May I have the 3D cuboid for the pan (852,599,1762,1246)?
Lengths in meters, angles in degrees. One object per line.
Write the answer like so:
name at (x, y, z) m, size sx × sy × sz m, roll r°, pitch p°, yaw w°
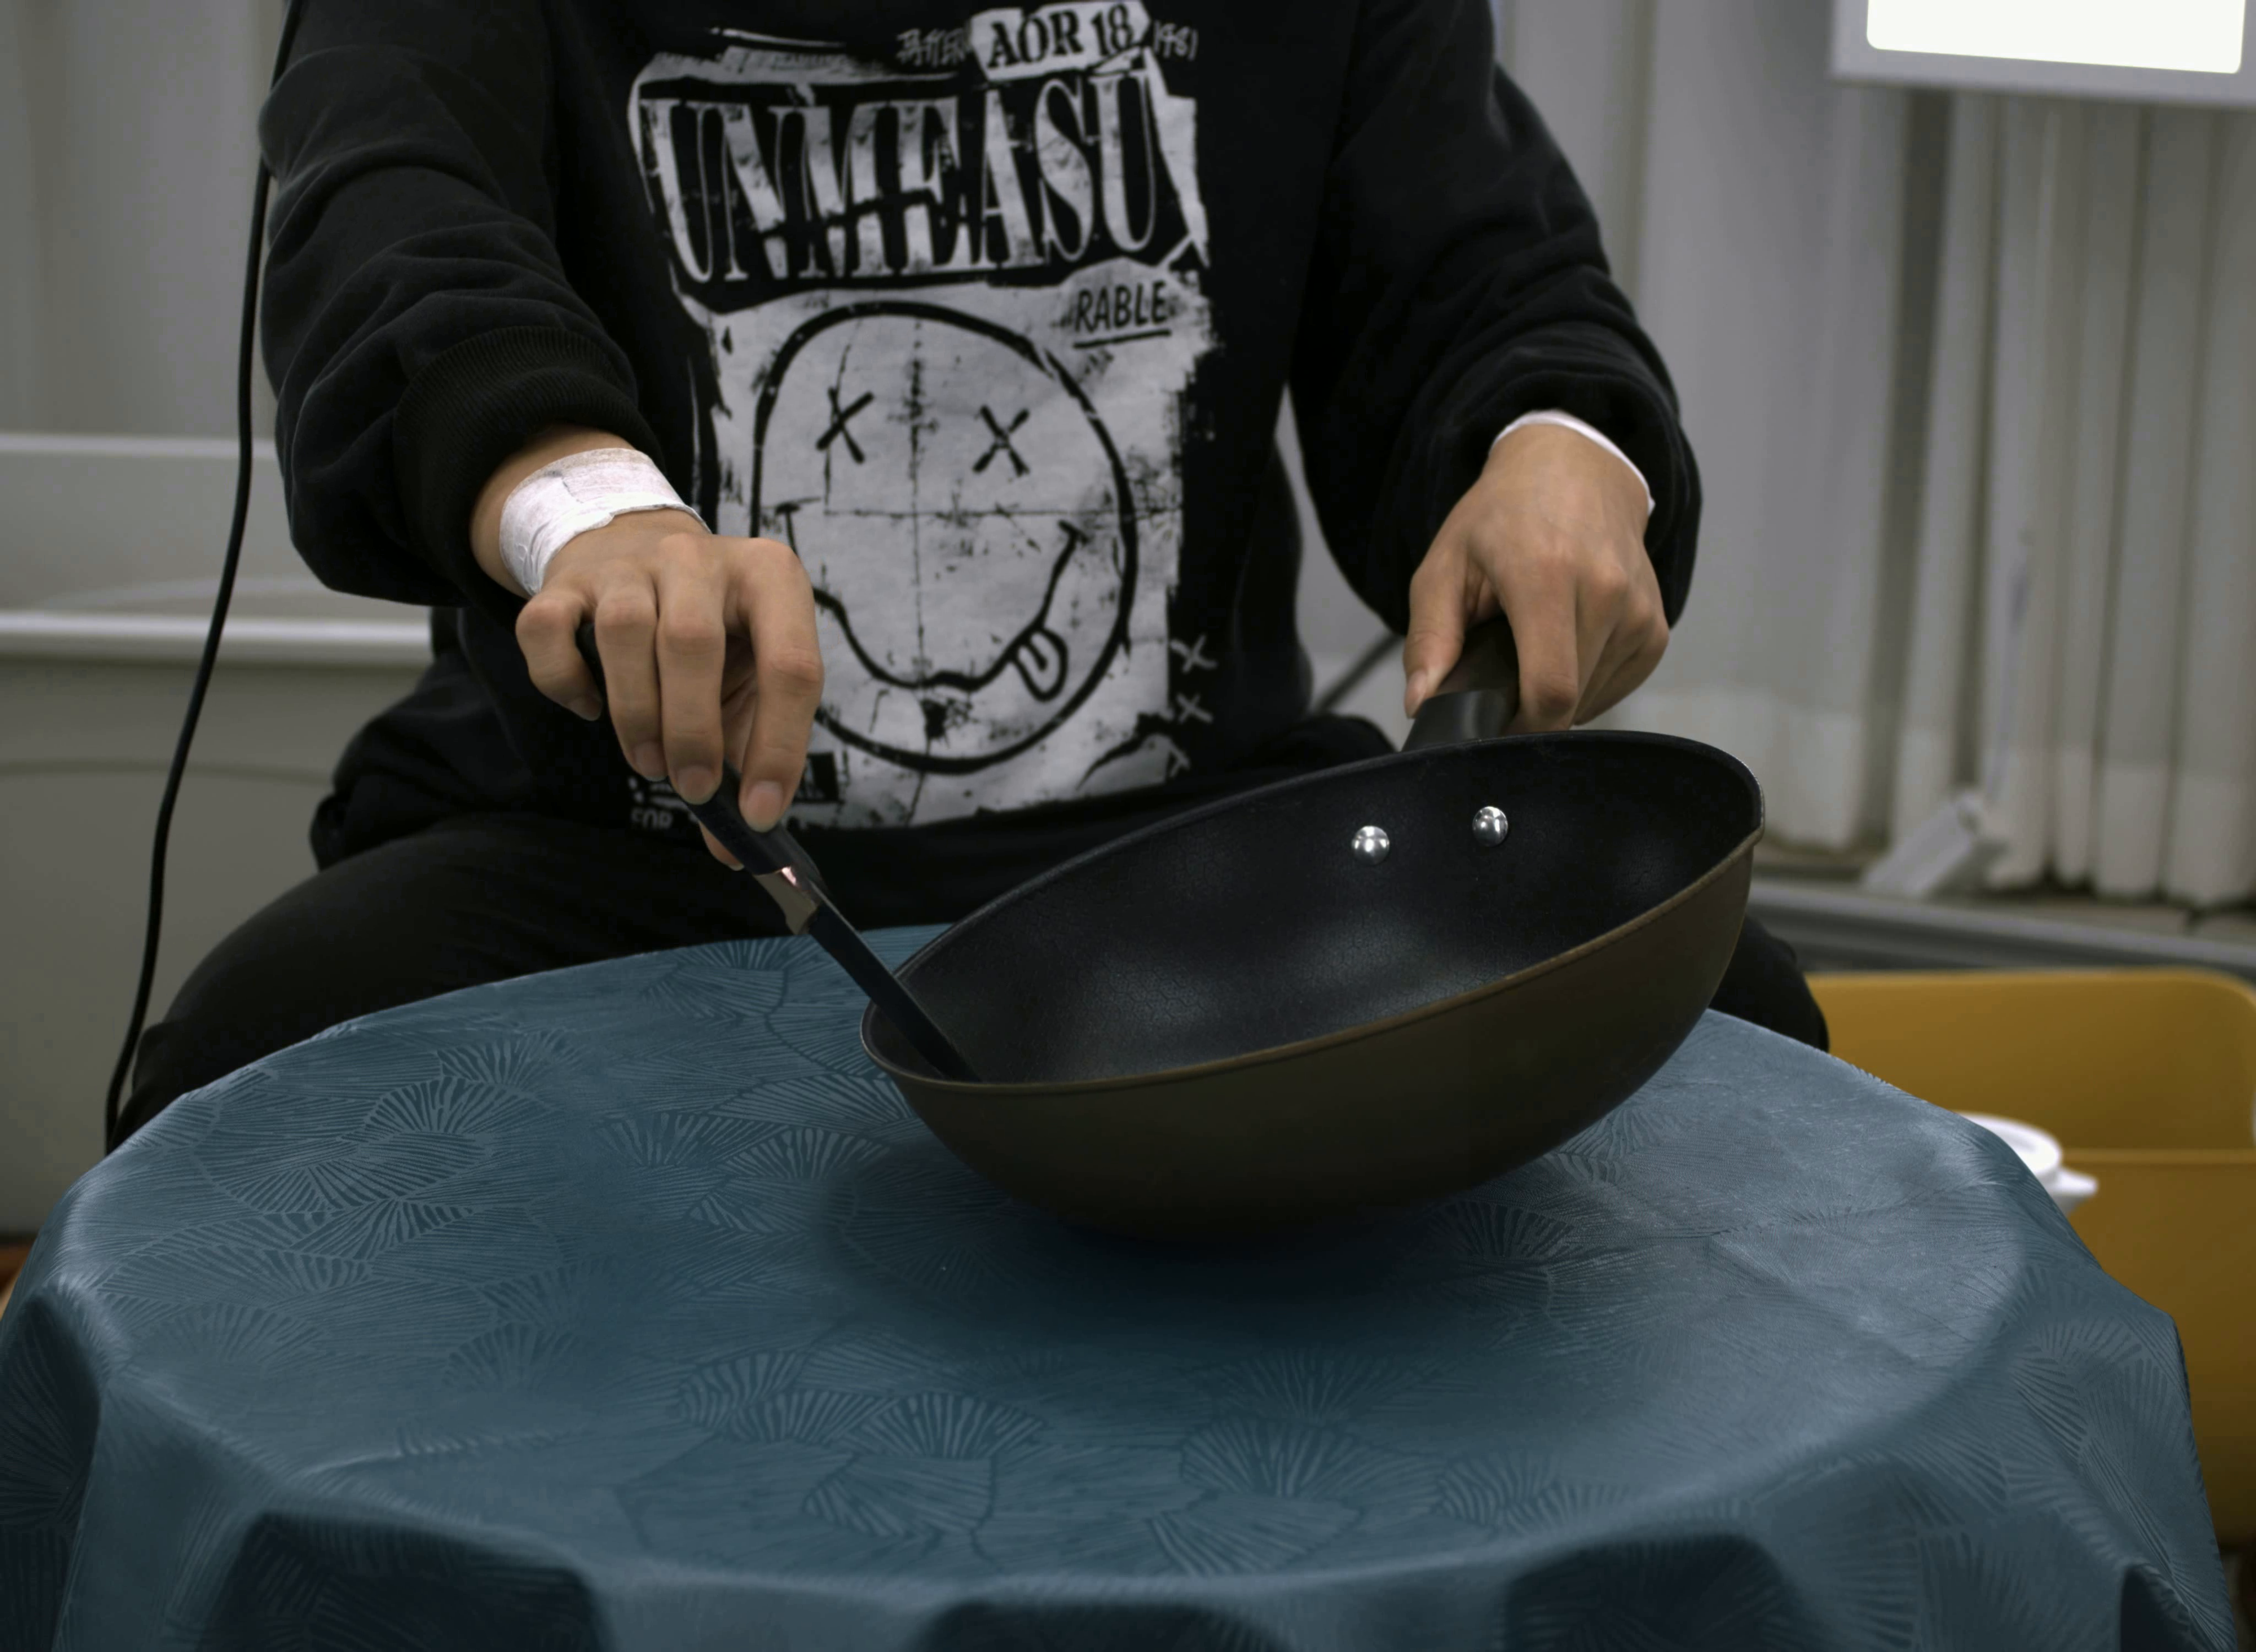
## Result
pan at (0.090, 0.029, 1.678) m, size 0.286 × 0.087 × 0.463 m, roll -10°, pitch 15°, yaw 21°

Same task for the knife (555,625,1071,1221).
knife at (-0.090, 0.028, 1.537) m, size 0.017 × 0.225 × 0.026 m, roll -40°, pitch -3°, yaw -42°
